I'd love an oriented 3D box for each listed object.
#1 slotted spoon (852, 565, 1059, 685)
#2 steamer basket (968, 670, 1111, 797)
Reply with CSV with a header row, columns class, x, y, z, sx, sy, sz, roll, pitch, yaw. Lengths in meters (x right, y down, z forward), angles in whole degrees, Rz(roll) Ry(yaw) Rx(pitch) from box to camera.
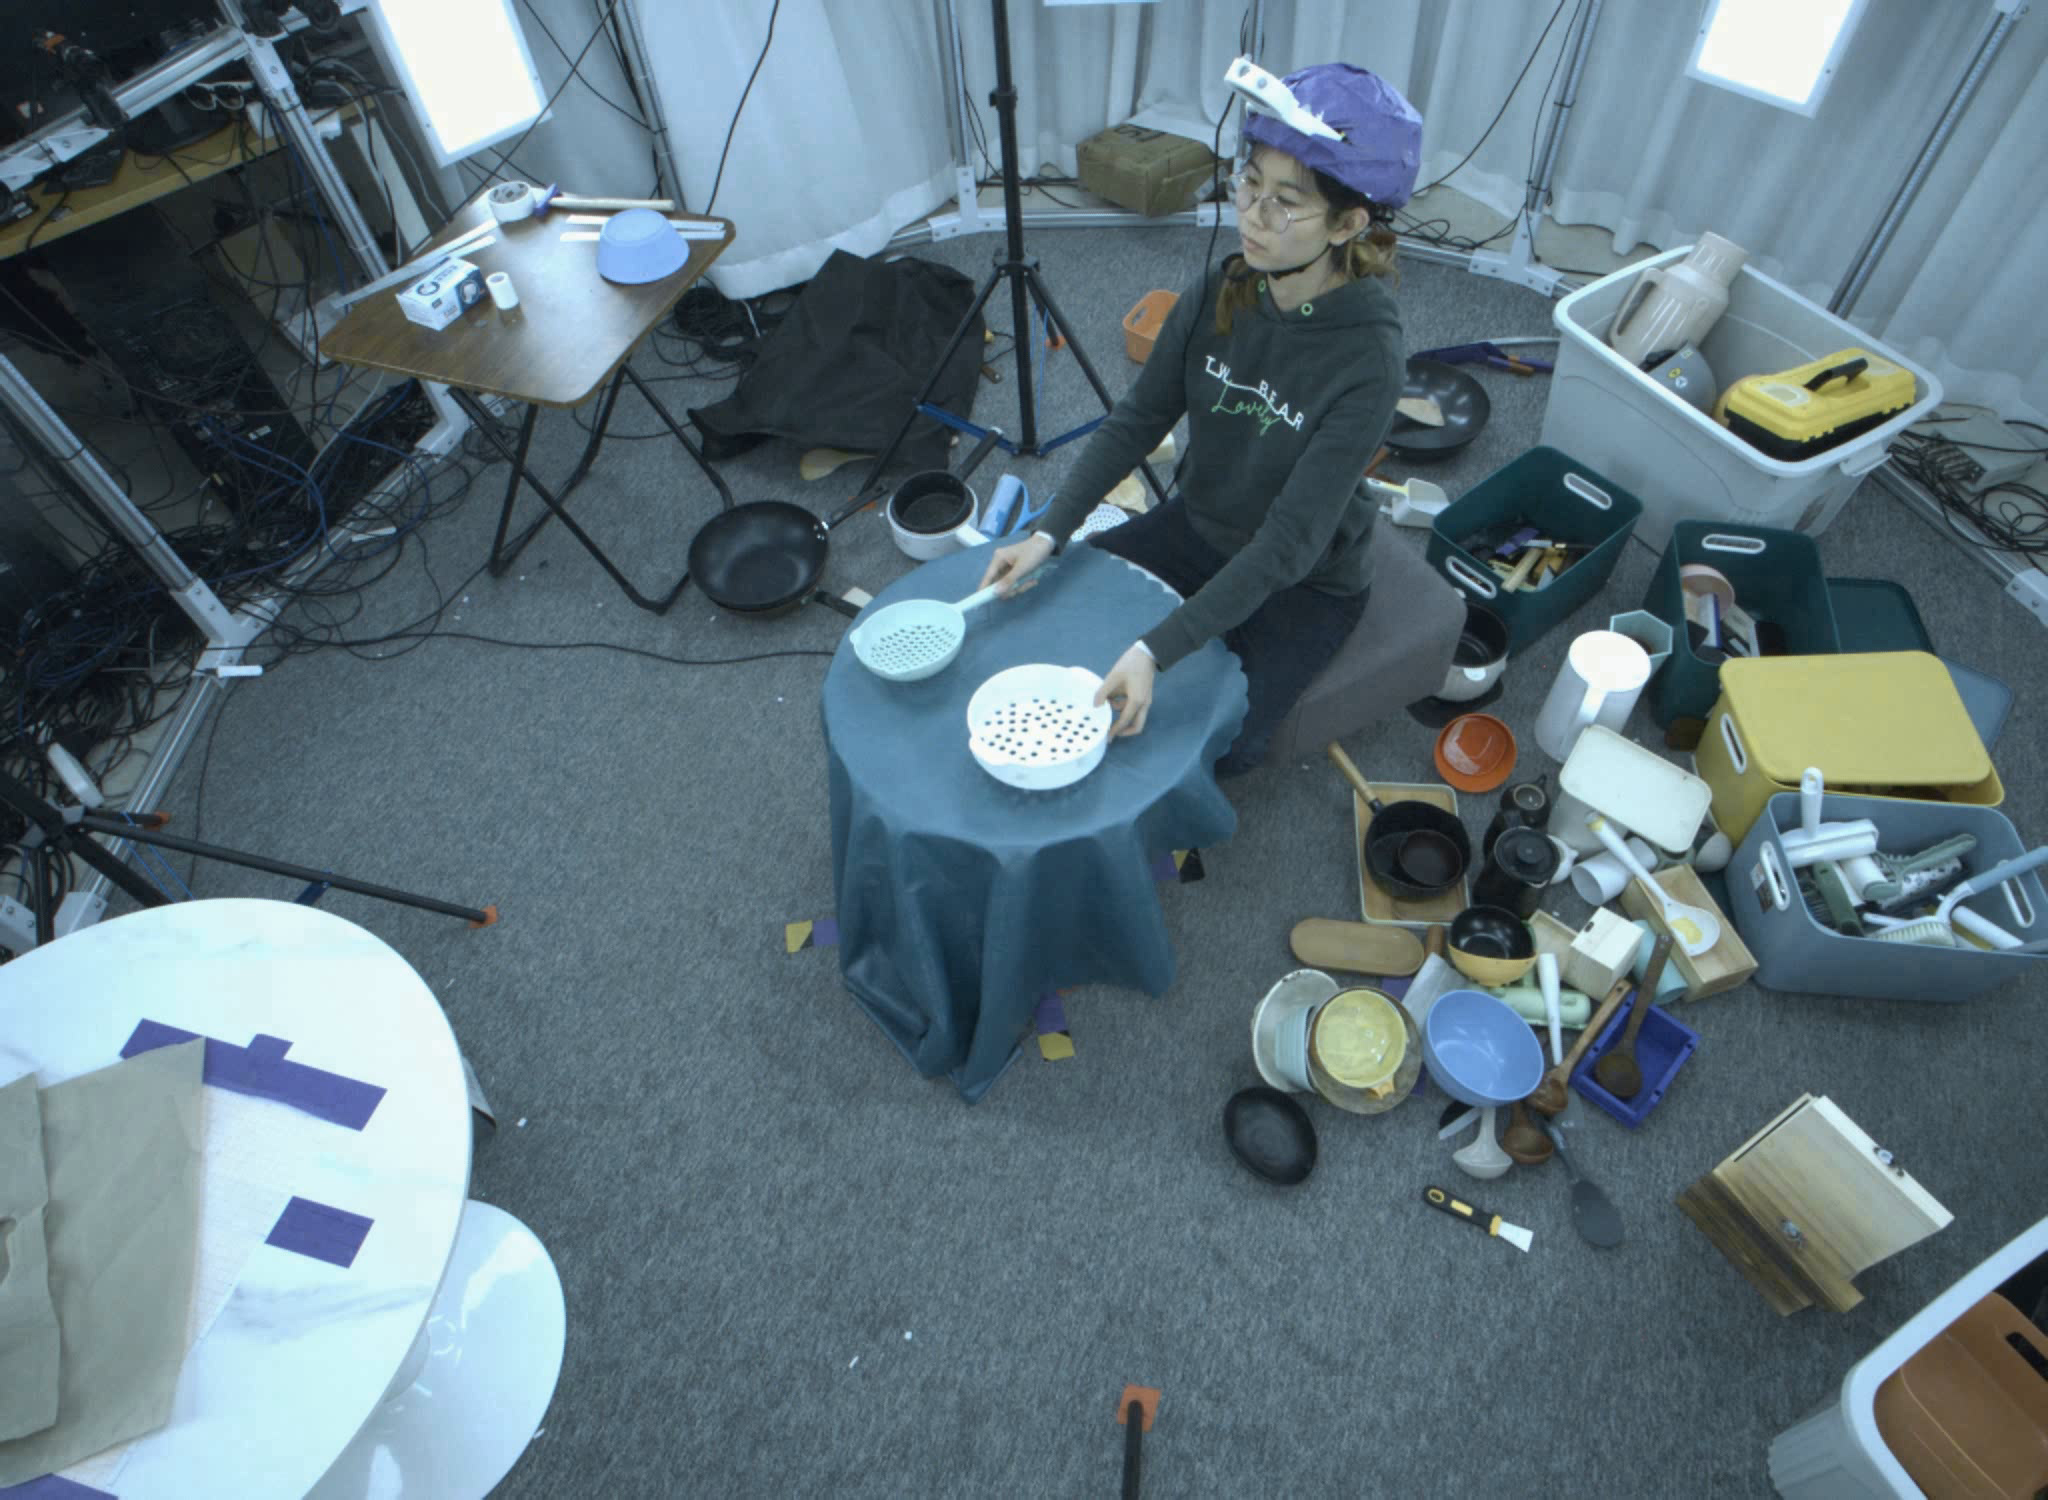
class,x,y,z,sx,sy,sz,roll,pitch,yaw
slotted spoon,-0.092,-0.209,1.893,0.361,0.076,0.165,-38,52,-17
steamer basket,0.022,-0.023,1.753,0.198,0.070,0.232,36,56,26
